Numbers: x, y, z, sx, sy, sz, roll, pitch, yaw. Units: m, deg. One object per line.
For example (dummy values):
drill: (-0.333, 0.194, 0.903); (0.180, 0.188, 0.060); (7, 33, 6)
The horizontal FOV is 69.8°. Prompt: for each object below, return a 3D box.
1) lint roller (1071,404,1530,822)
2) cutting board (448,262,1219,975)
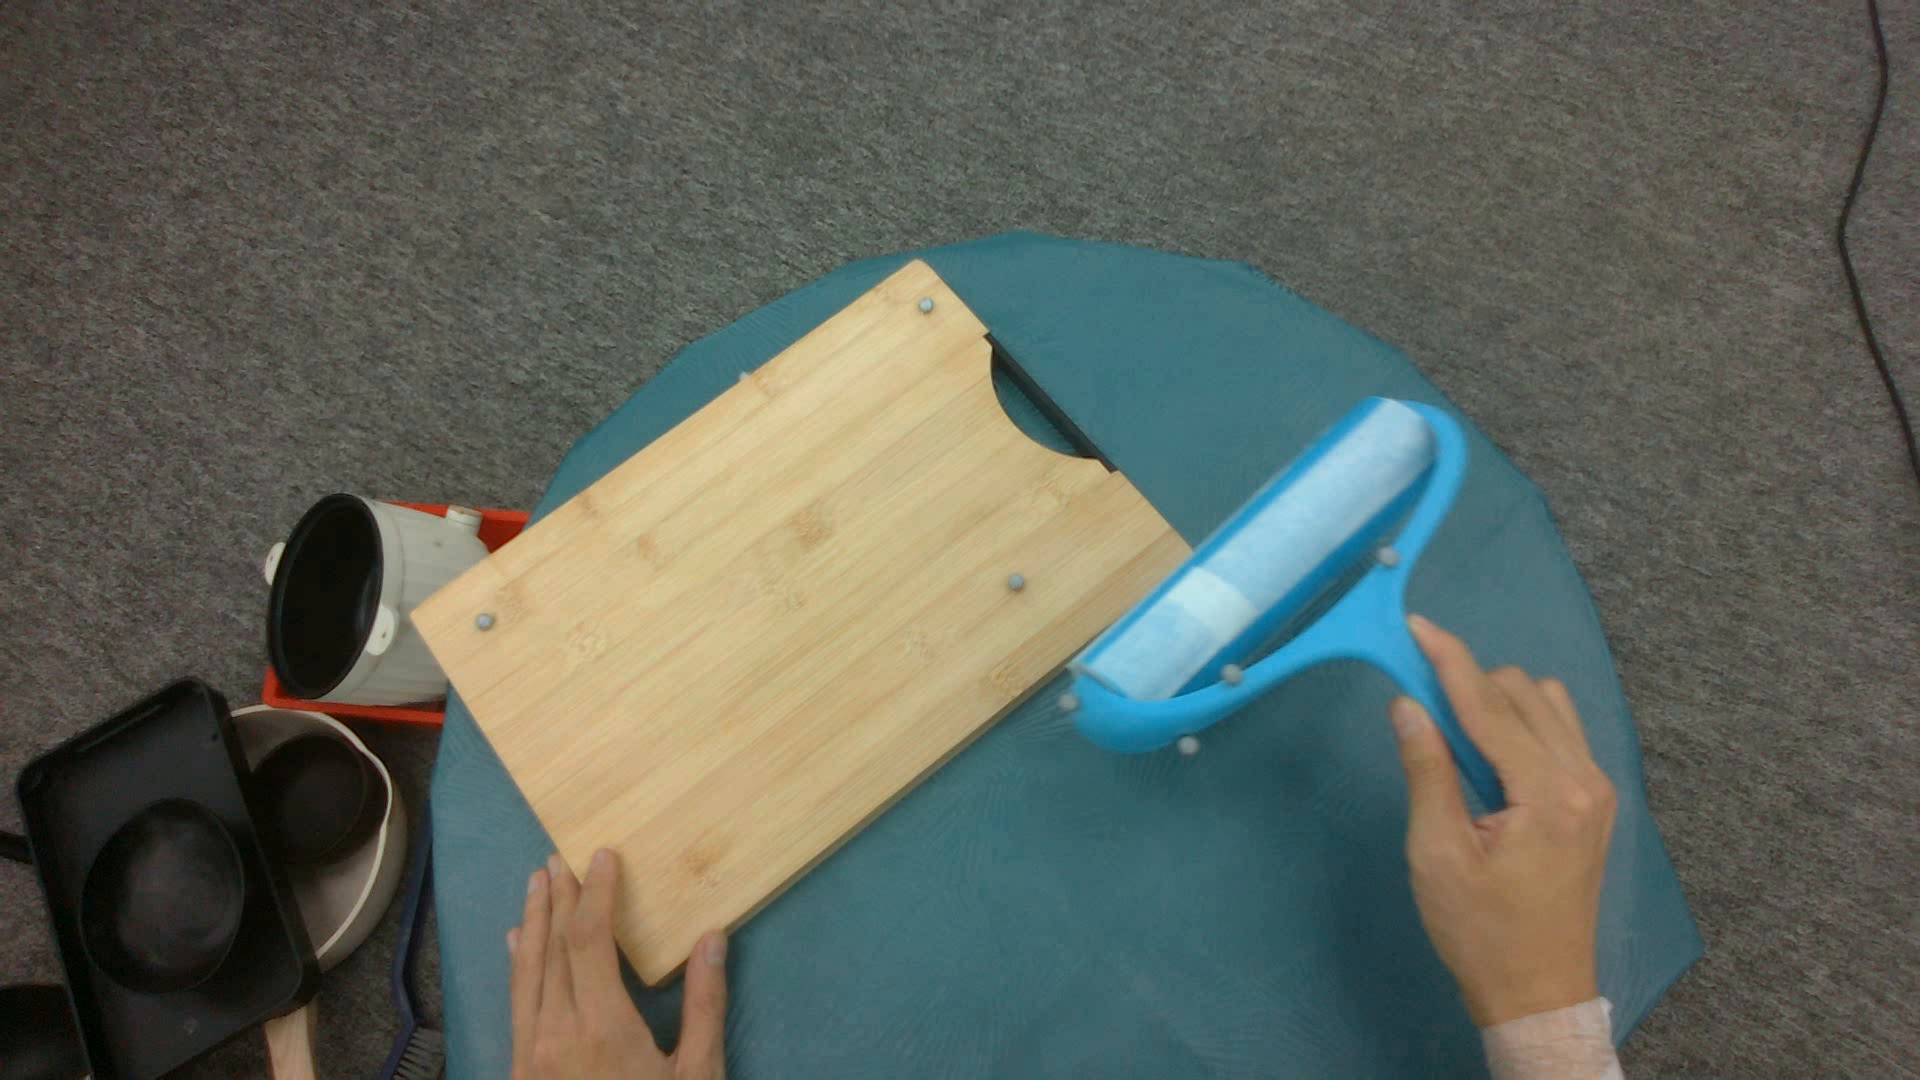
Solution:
lint roller: (0.181, 0.049, 0.615); (0.229, 0.067, 0.180); (-41, 59, -13)
cutting board: (-0.074, 0.025, 0.740); (0.349, 0.023, 0.251); (-38, 69, -10)
